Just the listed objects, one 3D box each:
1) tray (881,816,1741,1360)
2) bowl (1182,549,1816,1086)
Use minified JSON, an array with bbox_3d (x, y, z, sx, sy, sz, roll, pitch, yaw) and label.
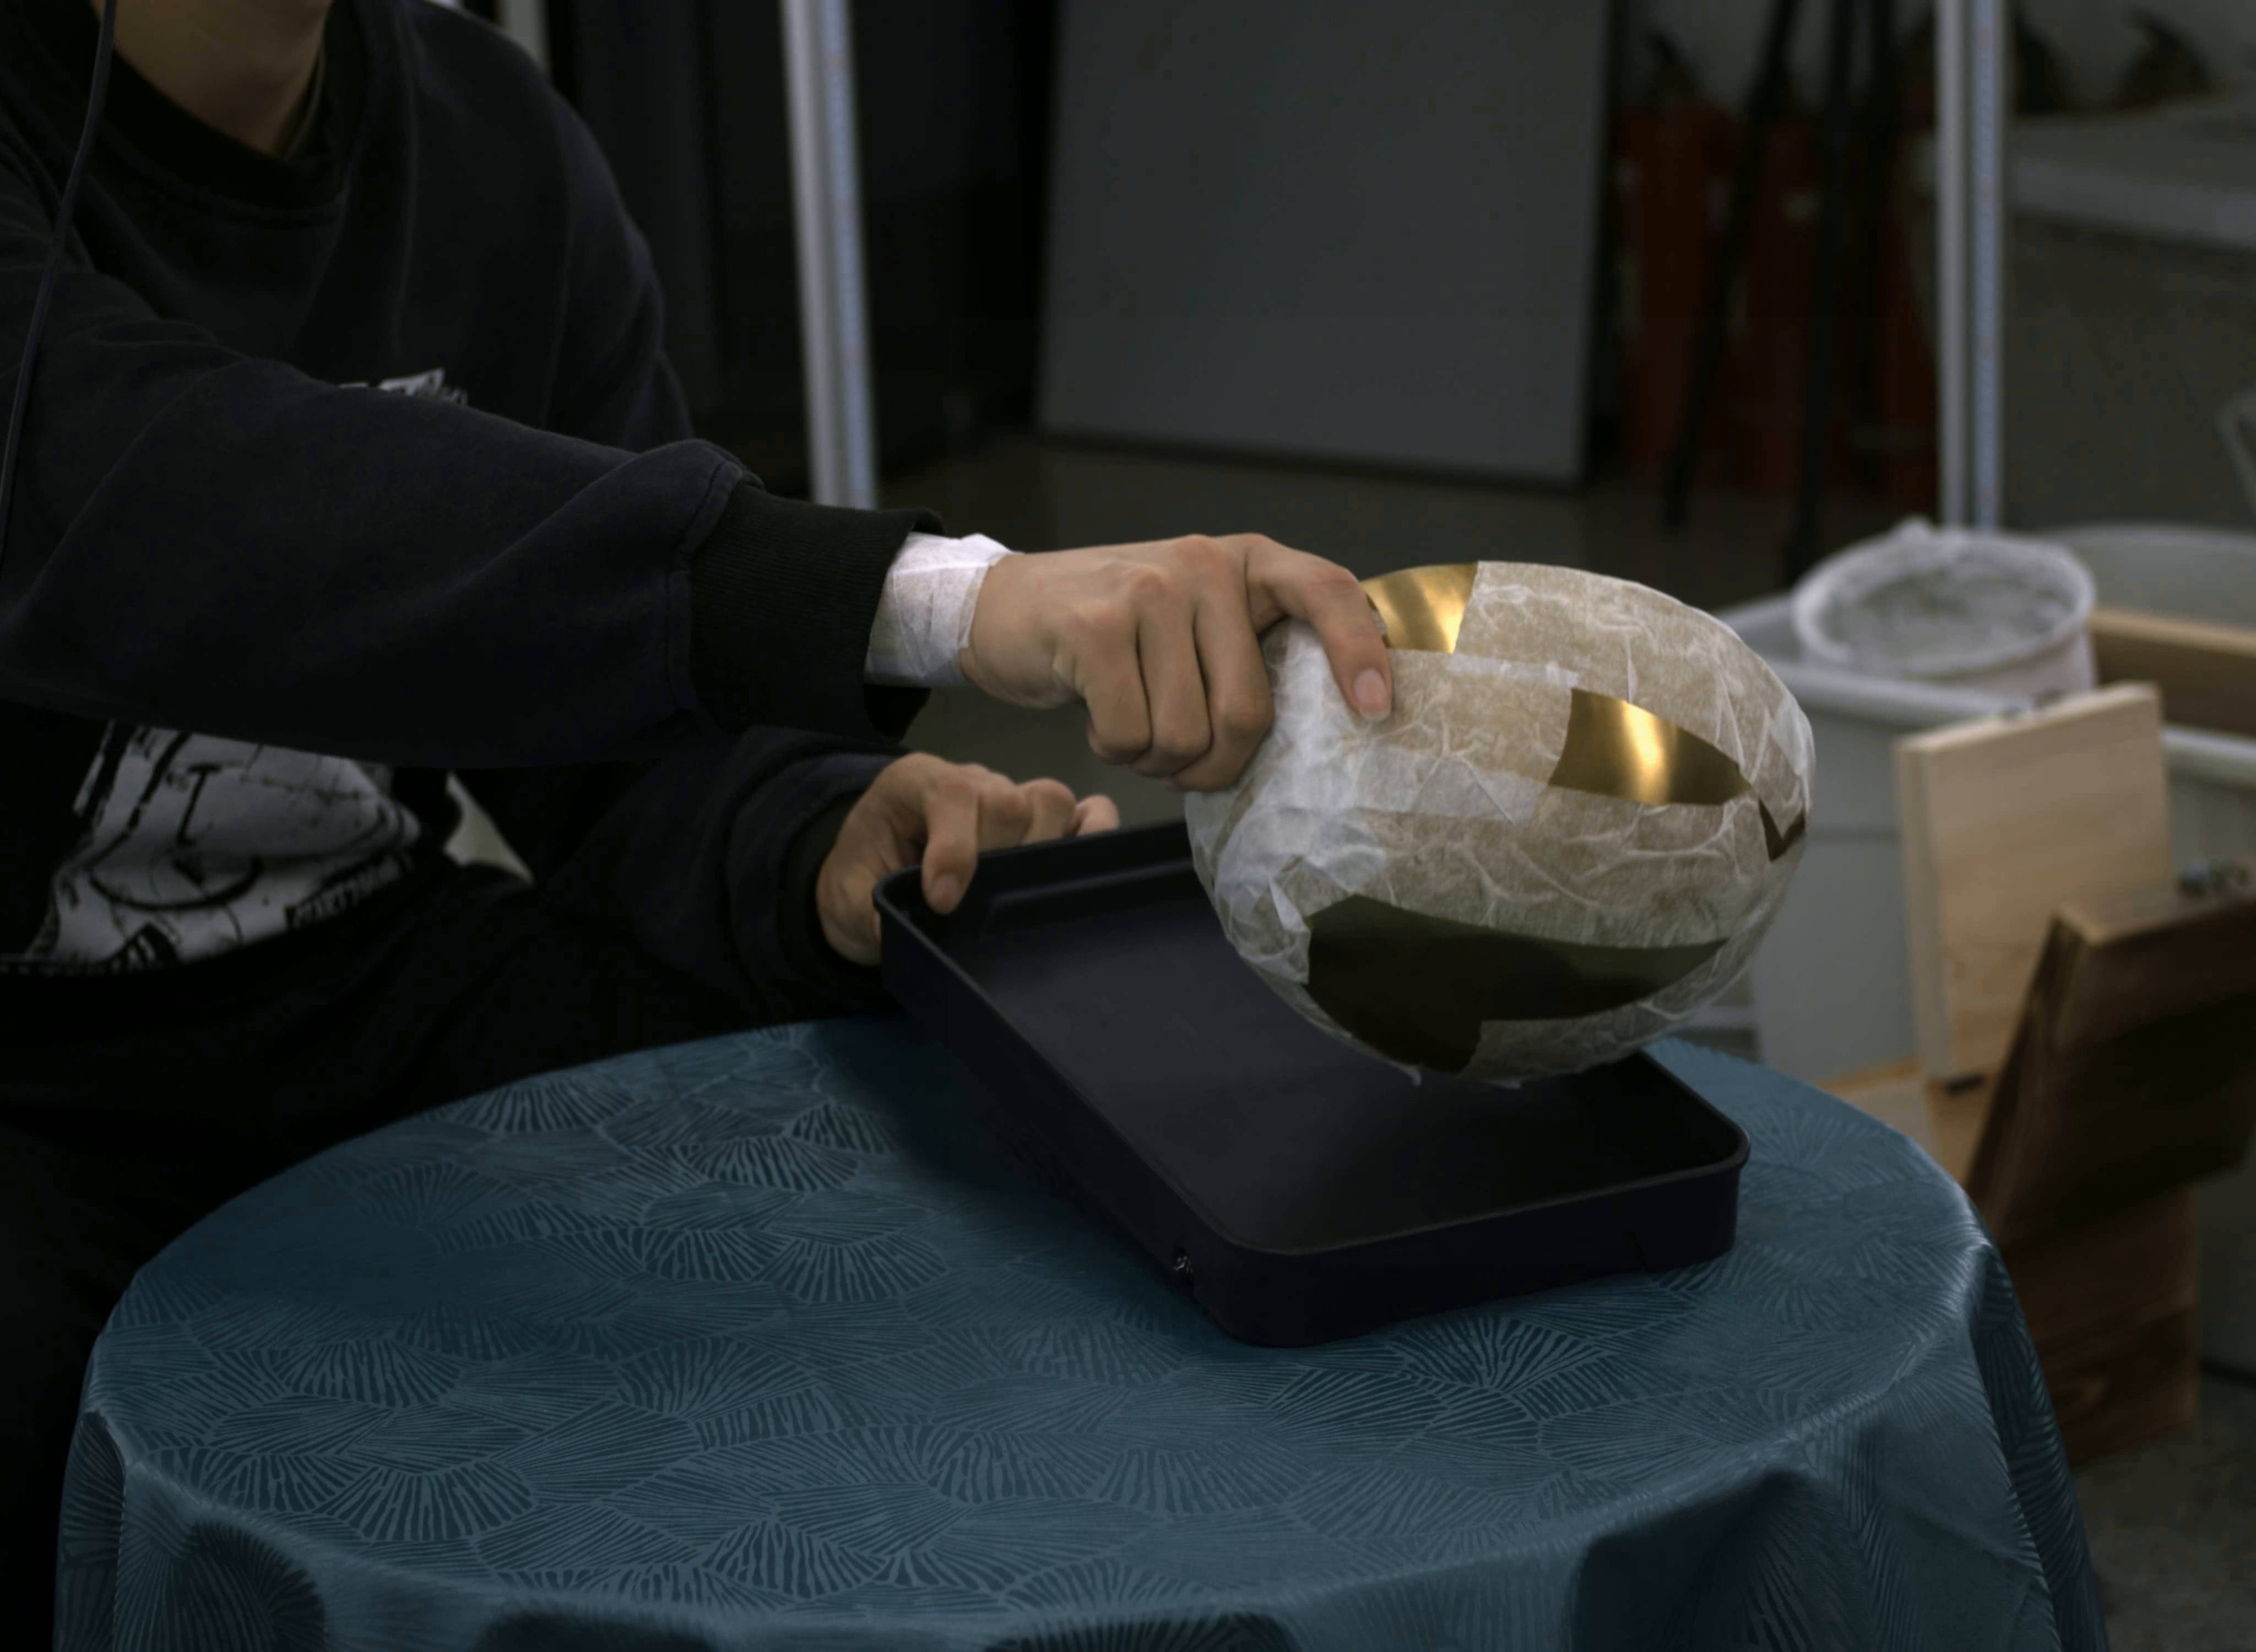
[{"bbox_3d":[0.052,0.077,1.764,0.180,0.037,0.321,-8,25,-21],"label":"tray"},{"bbox_3d":[0.112,0.018,1.676,0.213,0.215,0.095,-1,50,9],"label":"bowl"}]
